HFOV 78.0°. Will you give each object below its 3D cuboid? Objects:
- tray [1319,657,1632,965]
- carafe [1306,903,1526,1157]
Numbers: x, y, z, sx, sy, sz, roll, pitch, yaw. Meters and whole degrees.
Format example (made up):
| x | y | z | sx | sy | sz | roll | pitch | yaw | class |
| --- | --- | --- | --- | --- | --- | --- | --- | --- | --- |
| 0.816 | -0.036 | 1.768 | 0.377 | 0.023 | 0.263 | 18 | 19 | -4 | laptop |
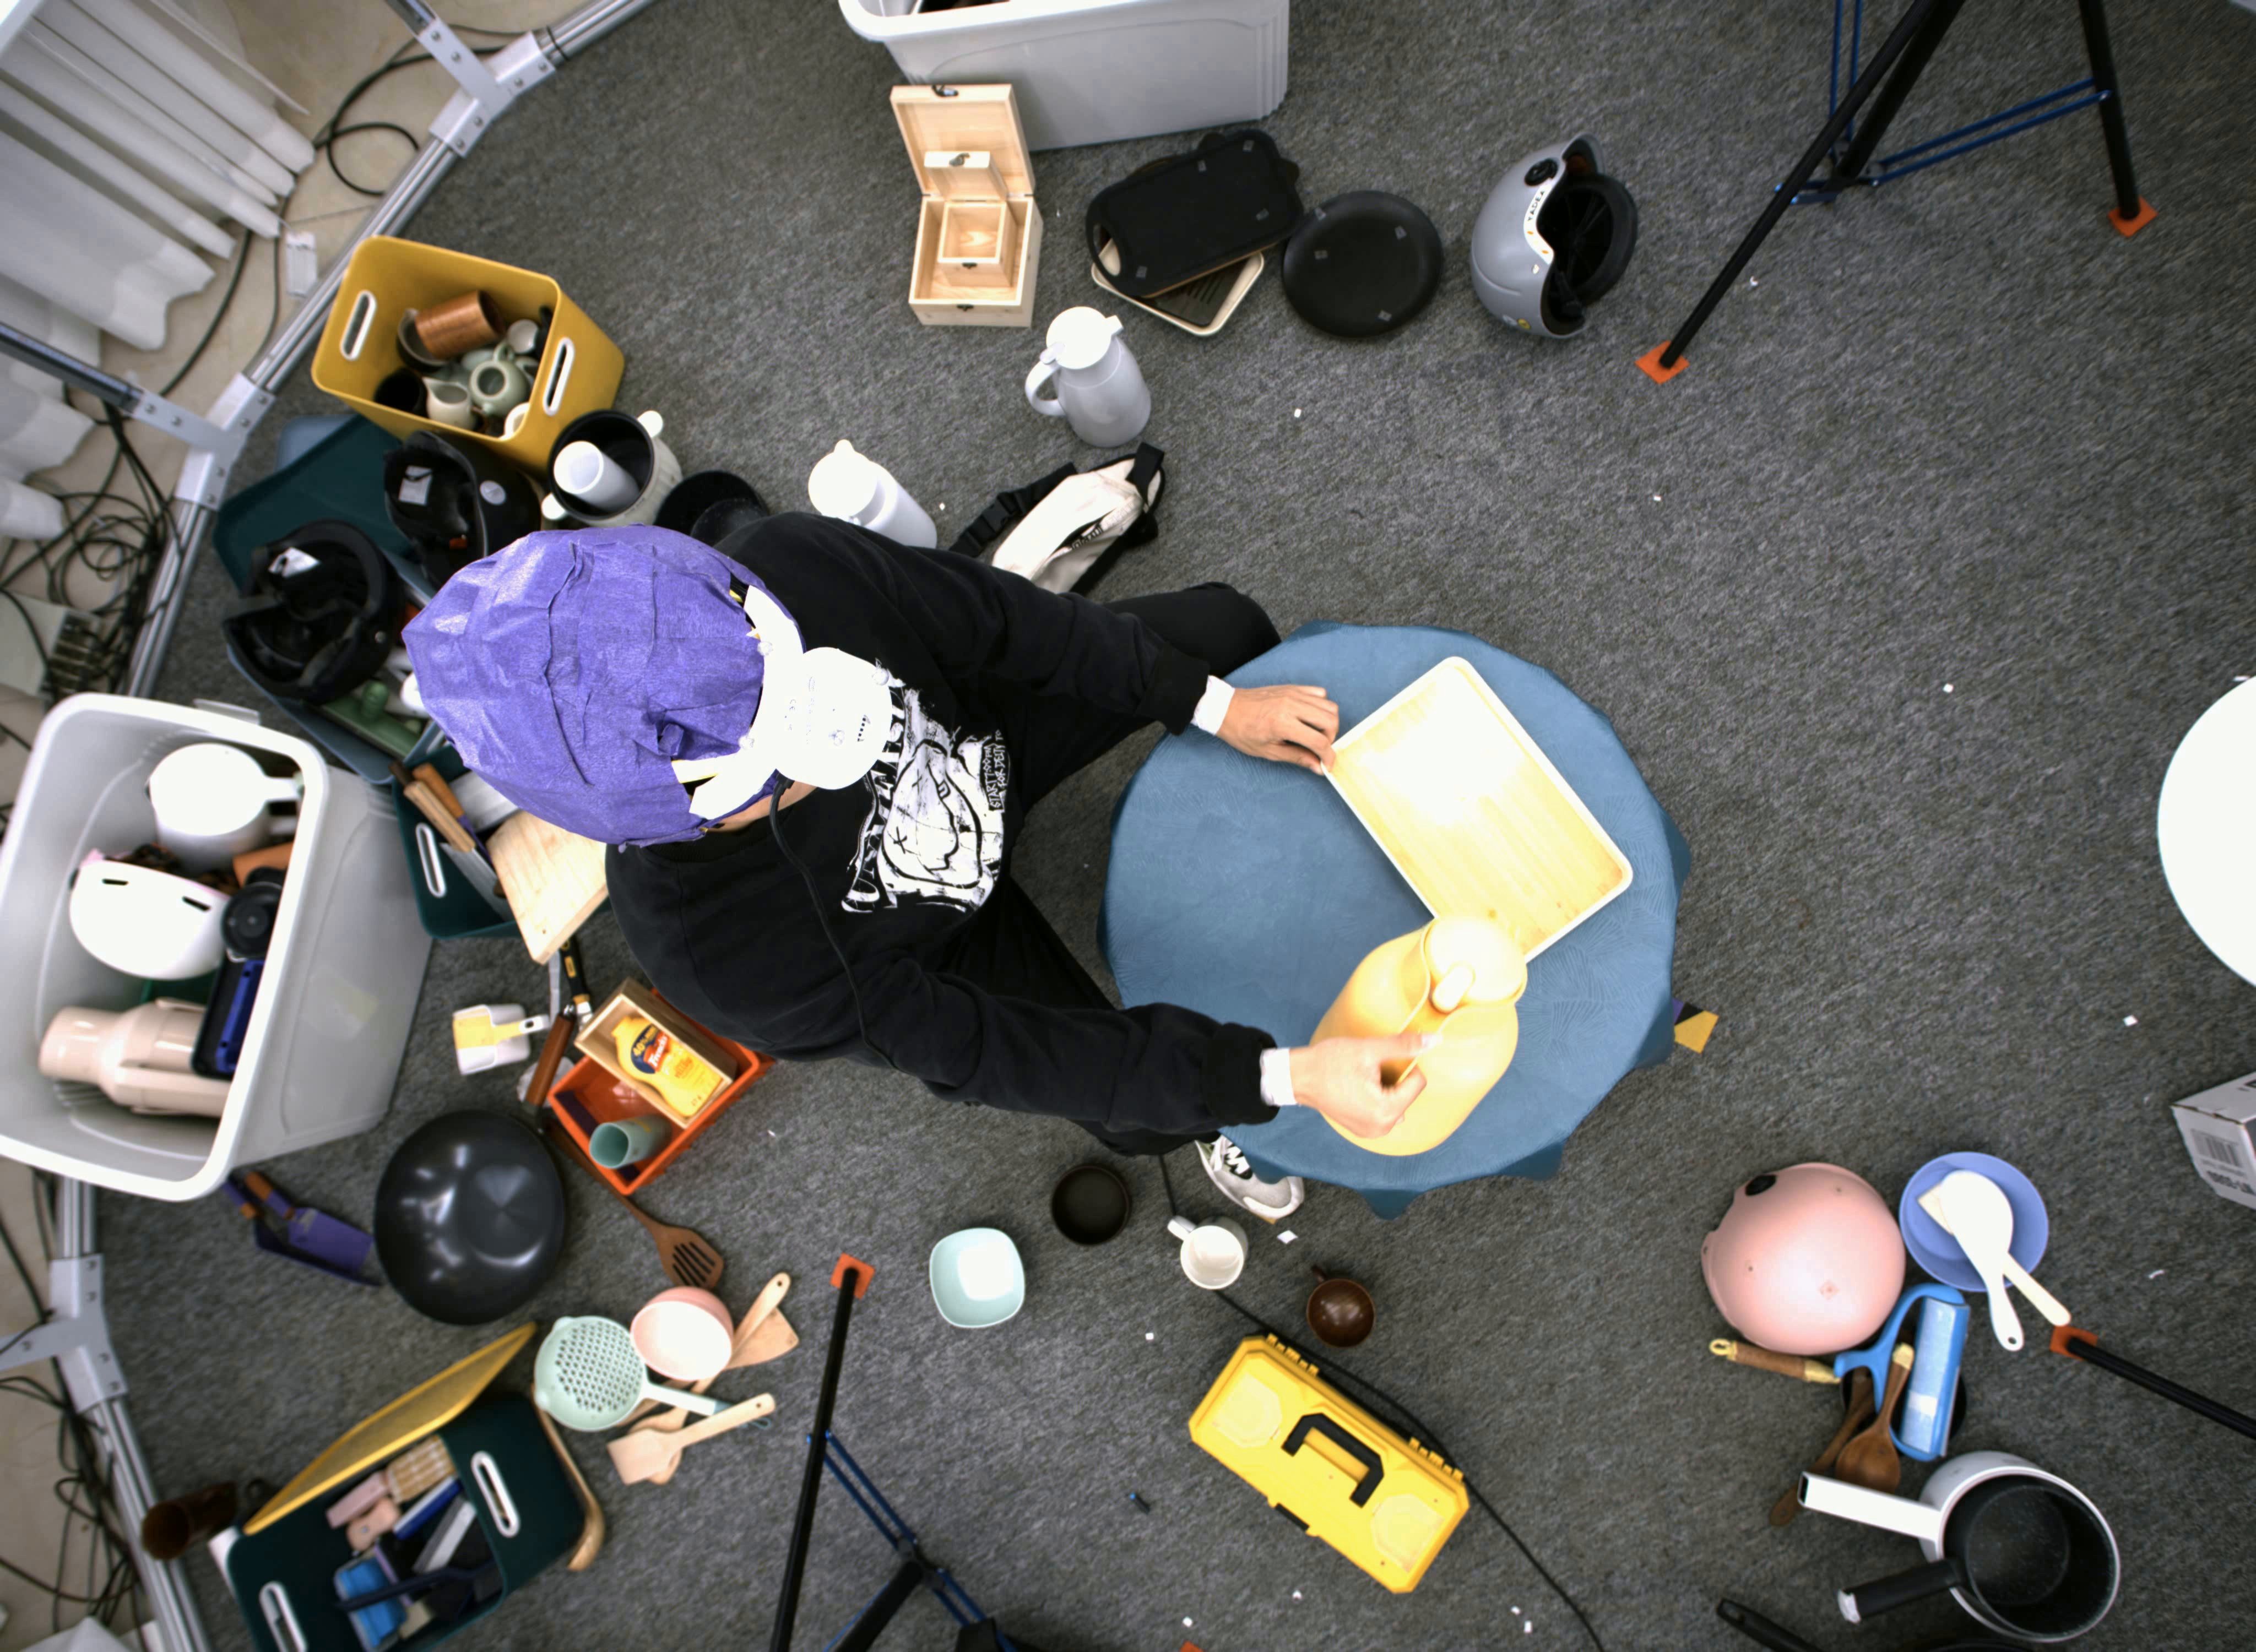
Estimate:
| x | y | z | sx | sy | sz | roll | pitch | yaw | class |
| --- | --- | --- | --- | --- | --- | --- | --- | --- | --- |
| 0.358 | -0.009 | 1.427 | 0.192 | 0.027 | 0.299 | -37 | 84 | 6 | tray |
| 0.259 | 0.190 | 1.257 | 0.162 | 0.267 | 0.198 | 37 | 51 | 18 | carafe |
